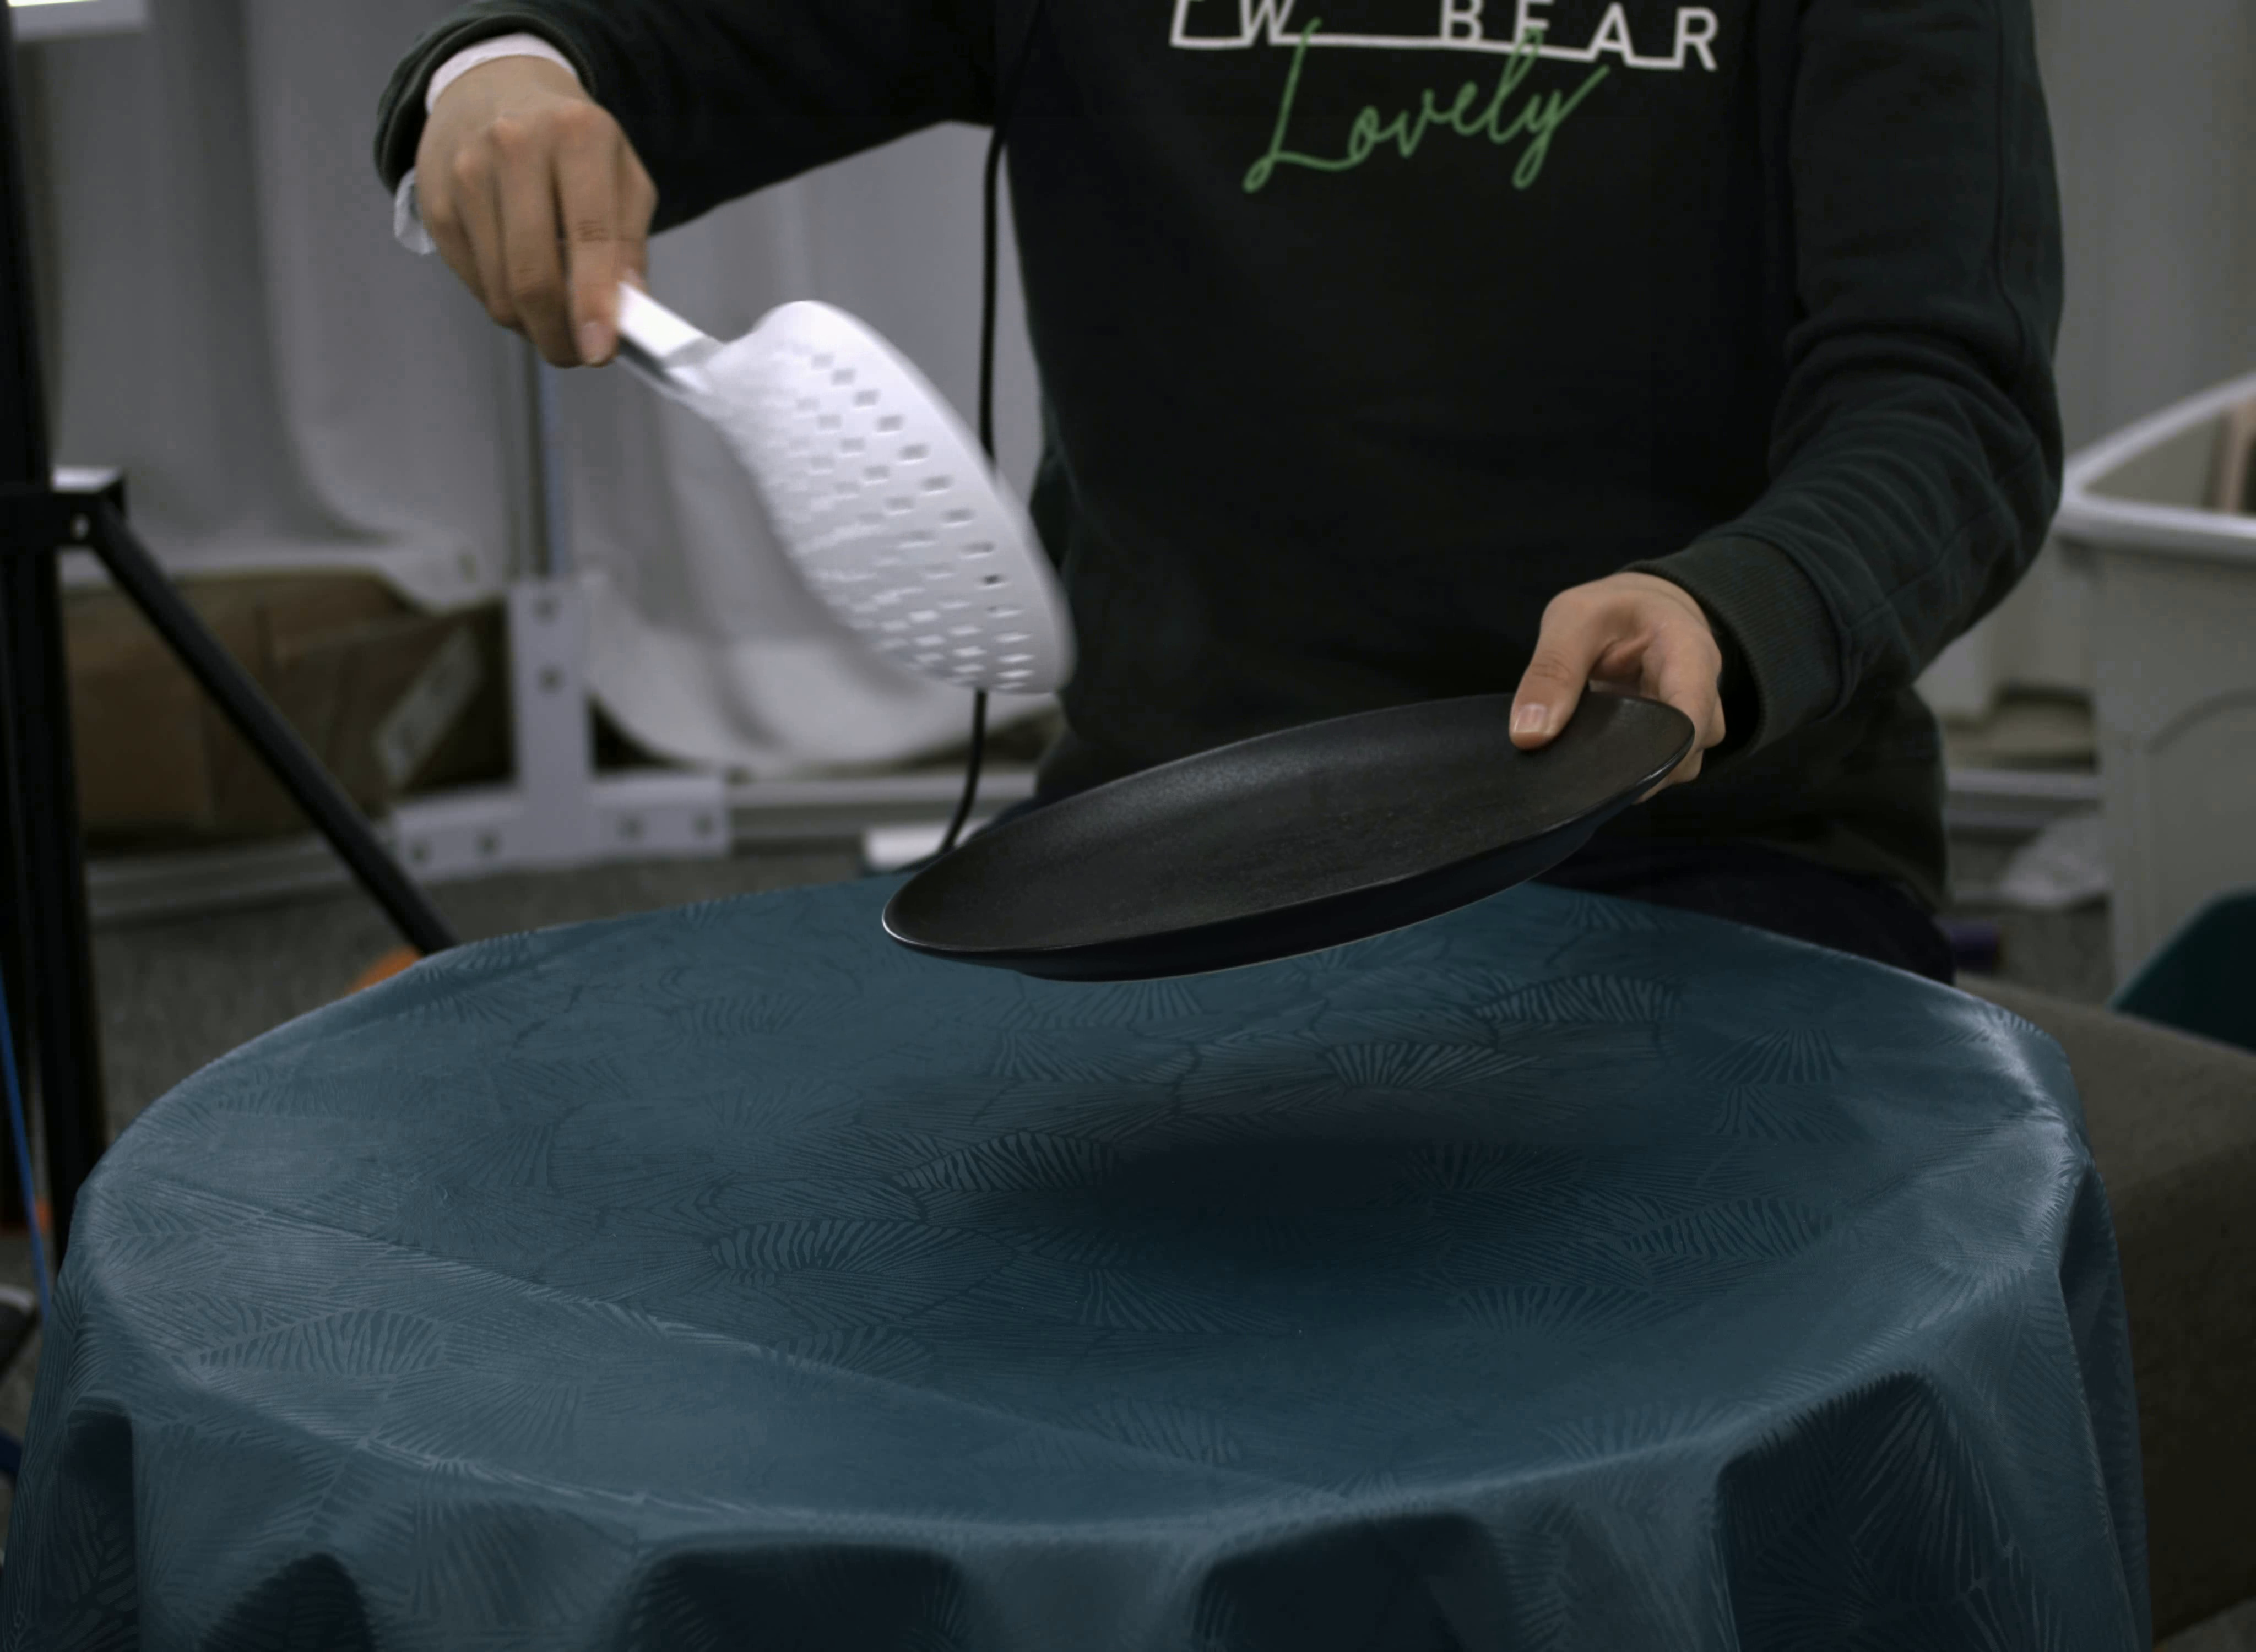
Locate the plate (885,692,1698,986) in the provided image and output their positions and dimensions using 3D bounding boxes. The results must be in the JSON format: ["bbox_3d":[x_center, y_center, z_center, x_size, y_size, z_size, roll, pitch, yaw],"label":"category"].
[{"bbox_3d":[0.049,0.006,1.550,0.243,0.023,0.245,-14,12,1],"label":"plate"}]

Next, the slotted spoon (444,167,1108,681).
[{"bbox_3d":[-0.117,-0.138,1.636,0.045,0.134,0.358,-32,39,-15],"label":"slotted spoon"}]
